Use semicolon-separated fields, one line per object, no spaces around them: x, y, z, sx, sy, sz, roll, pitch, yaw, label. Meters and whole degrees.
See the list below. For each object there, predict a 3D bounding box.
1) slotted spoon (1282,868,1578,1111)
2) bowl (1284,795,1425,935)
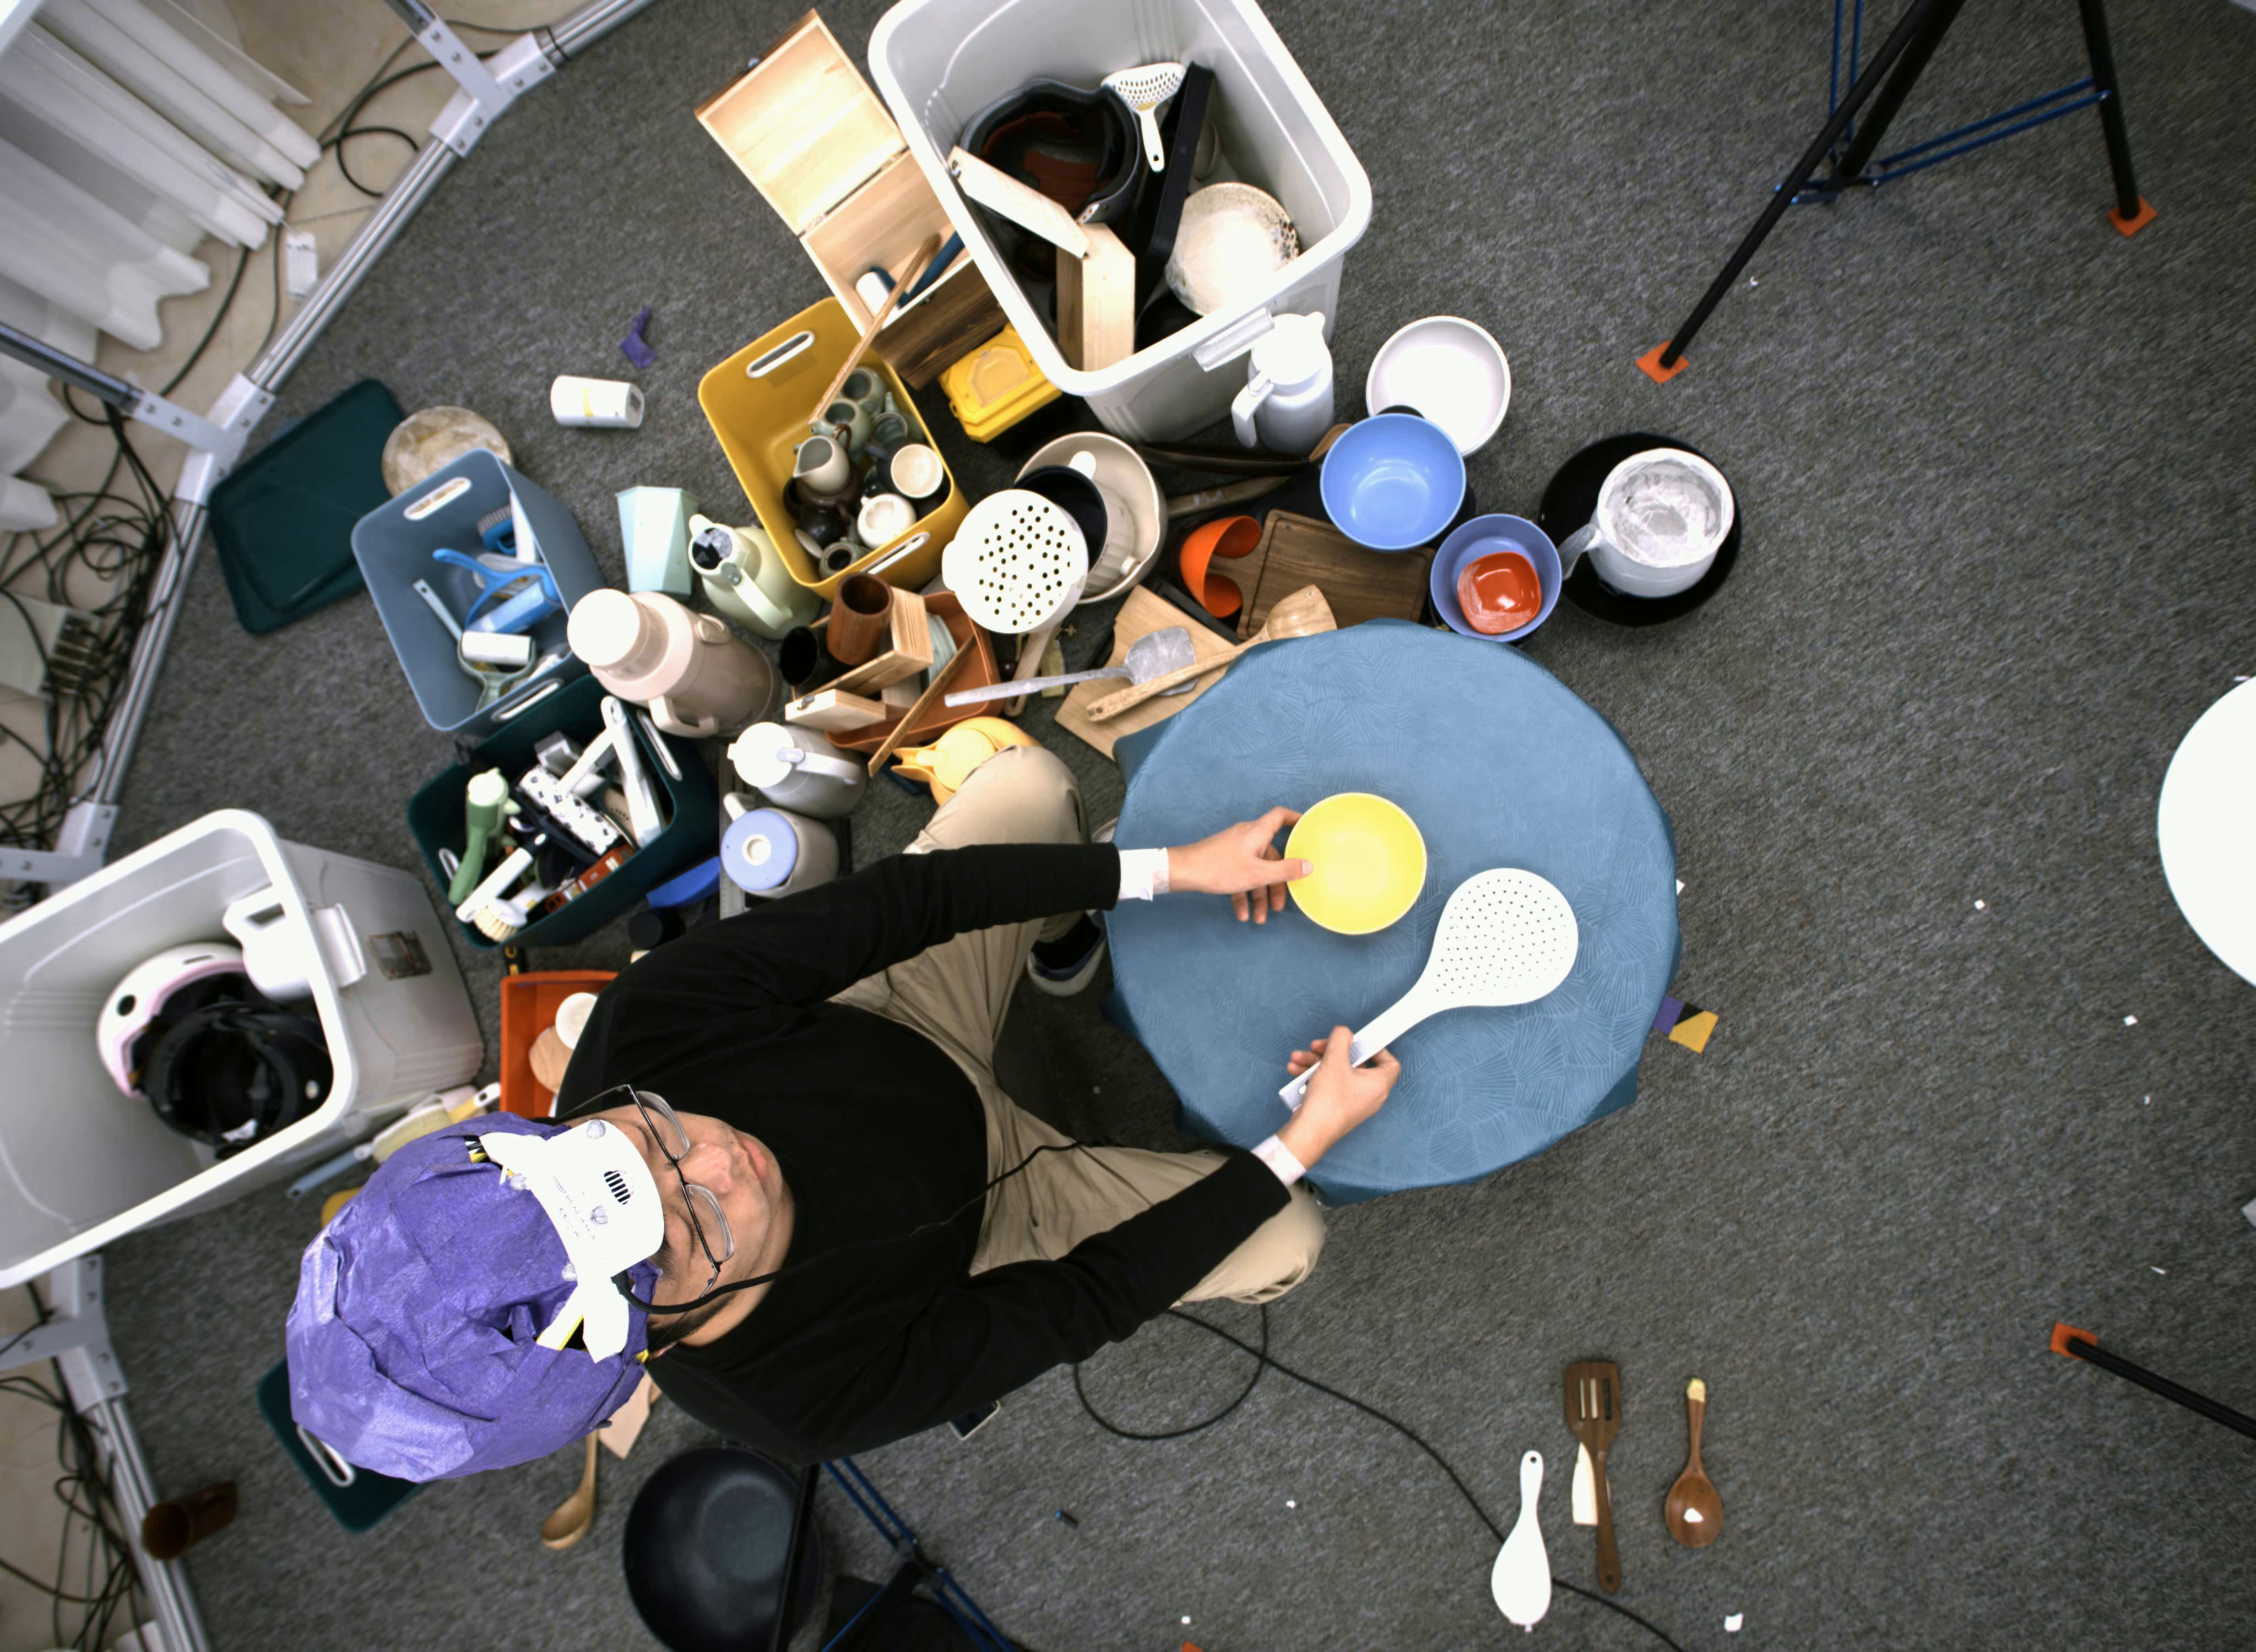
0.302;0.174;1.404;0.349;0.046;0.134;-36;71;-3;slotted spoon
0.236;0.042;1.440;0.146;0.060;0.144;-1;84;10;bowl
